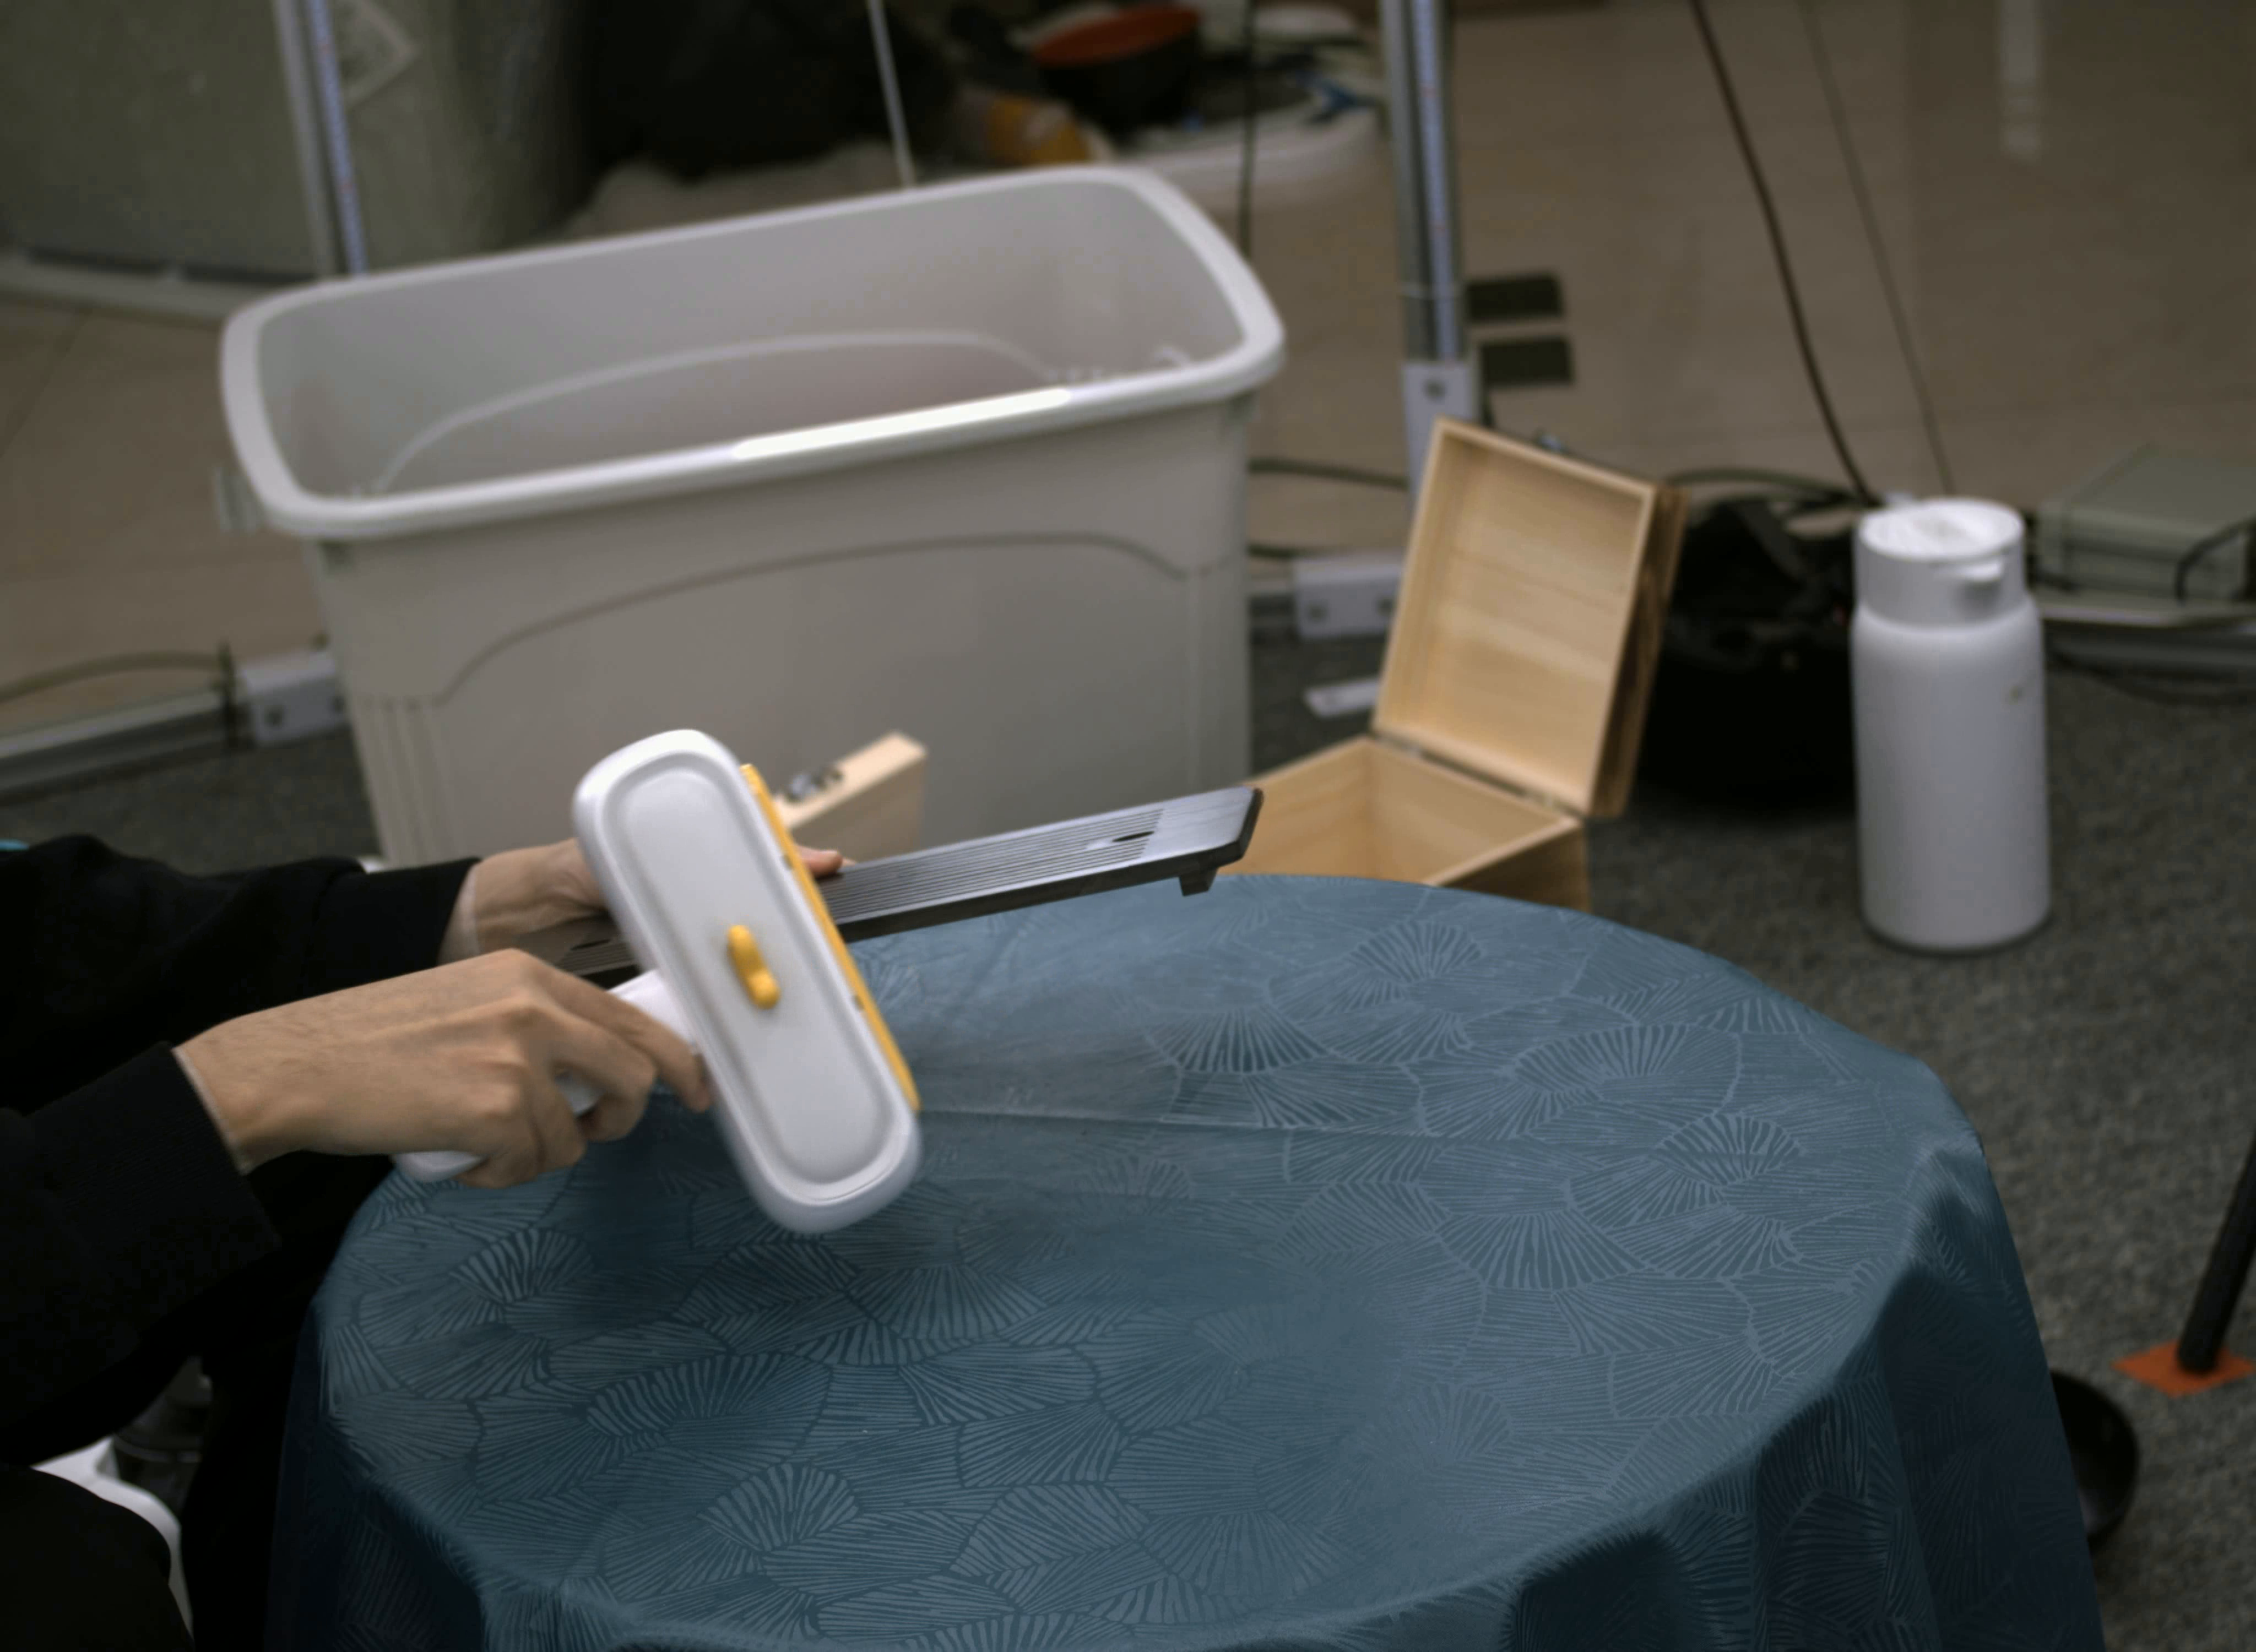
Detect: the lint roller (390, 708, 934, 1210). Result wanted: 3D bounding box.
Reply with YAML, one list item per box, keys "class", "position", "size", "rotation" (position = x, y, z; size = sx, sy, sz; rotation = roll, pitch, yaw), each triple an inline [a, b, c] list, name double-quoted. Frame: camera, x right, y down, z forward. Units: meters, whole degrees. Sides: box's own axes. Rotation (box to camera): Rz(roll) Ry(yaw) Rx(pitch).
- class: "lint roller"
  position: [-0.183, 0.075, 2.038]
  size: [0.191, 0.193, 0.074]
  rotation: [-31, 4, -18]

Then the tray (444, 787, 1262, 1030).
- class: "tray"
  position: [-0.101, 0.032, 2.175]
  size: [0.305, 0.019, 0.169]
  rotation: [-12, 7, 6]
